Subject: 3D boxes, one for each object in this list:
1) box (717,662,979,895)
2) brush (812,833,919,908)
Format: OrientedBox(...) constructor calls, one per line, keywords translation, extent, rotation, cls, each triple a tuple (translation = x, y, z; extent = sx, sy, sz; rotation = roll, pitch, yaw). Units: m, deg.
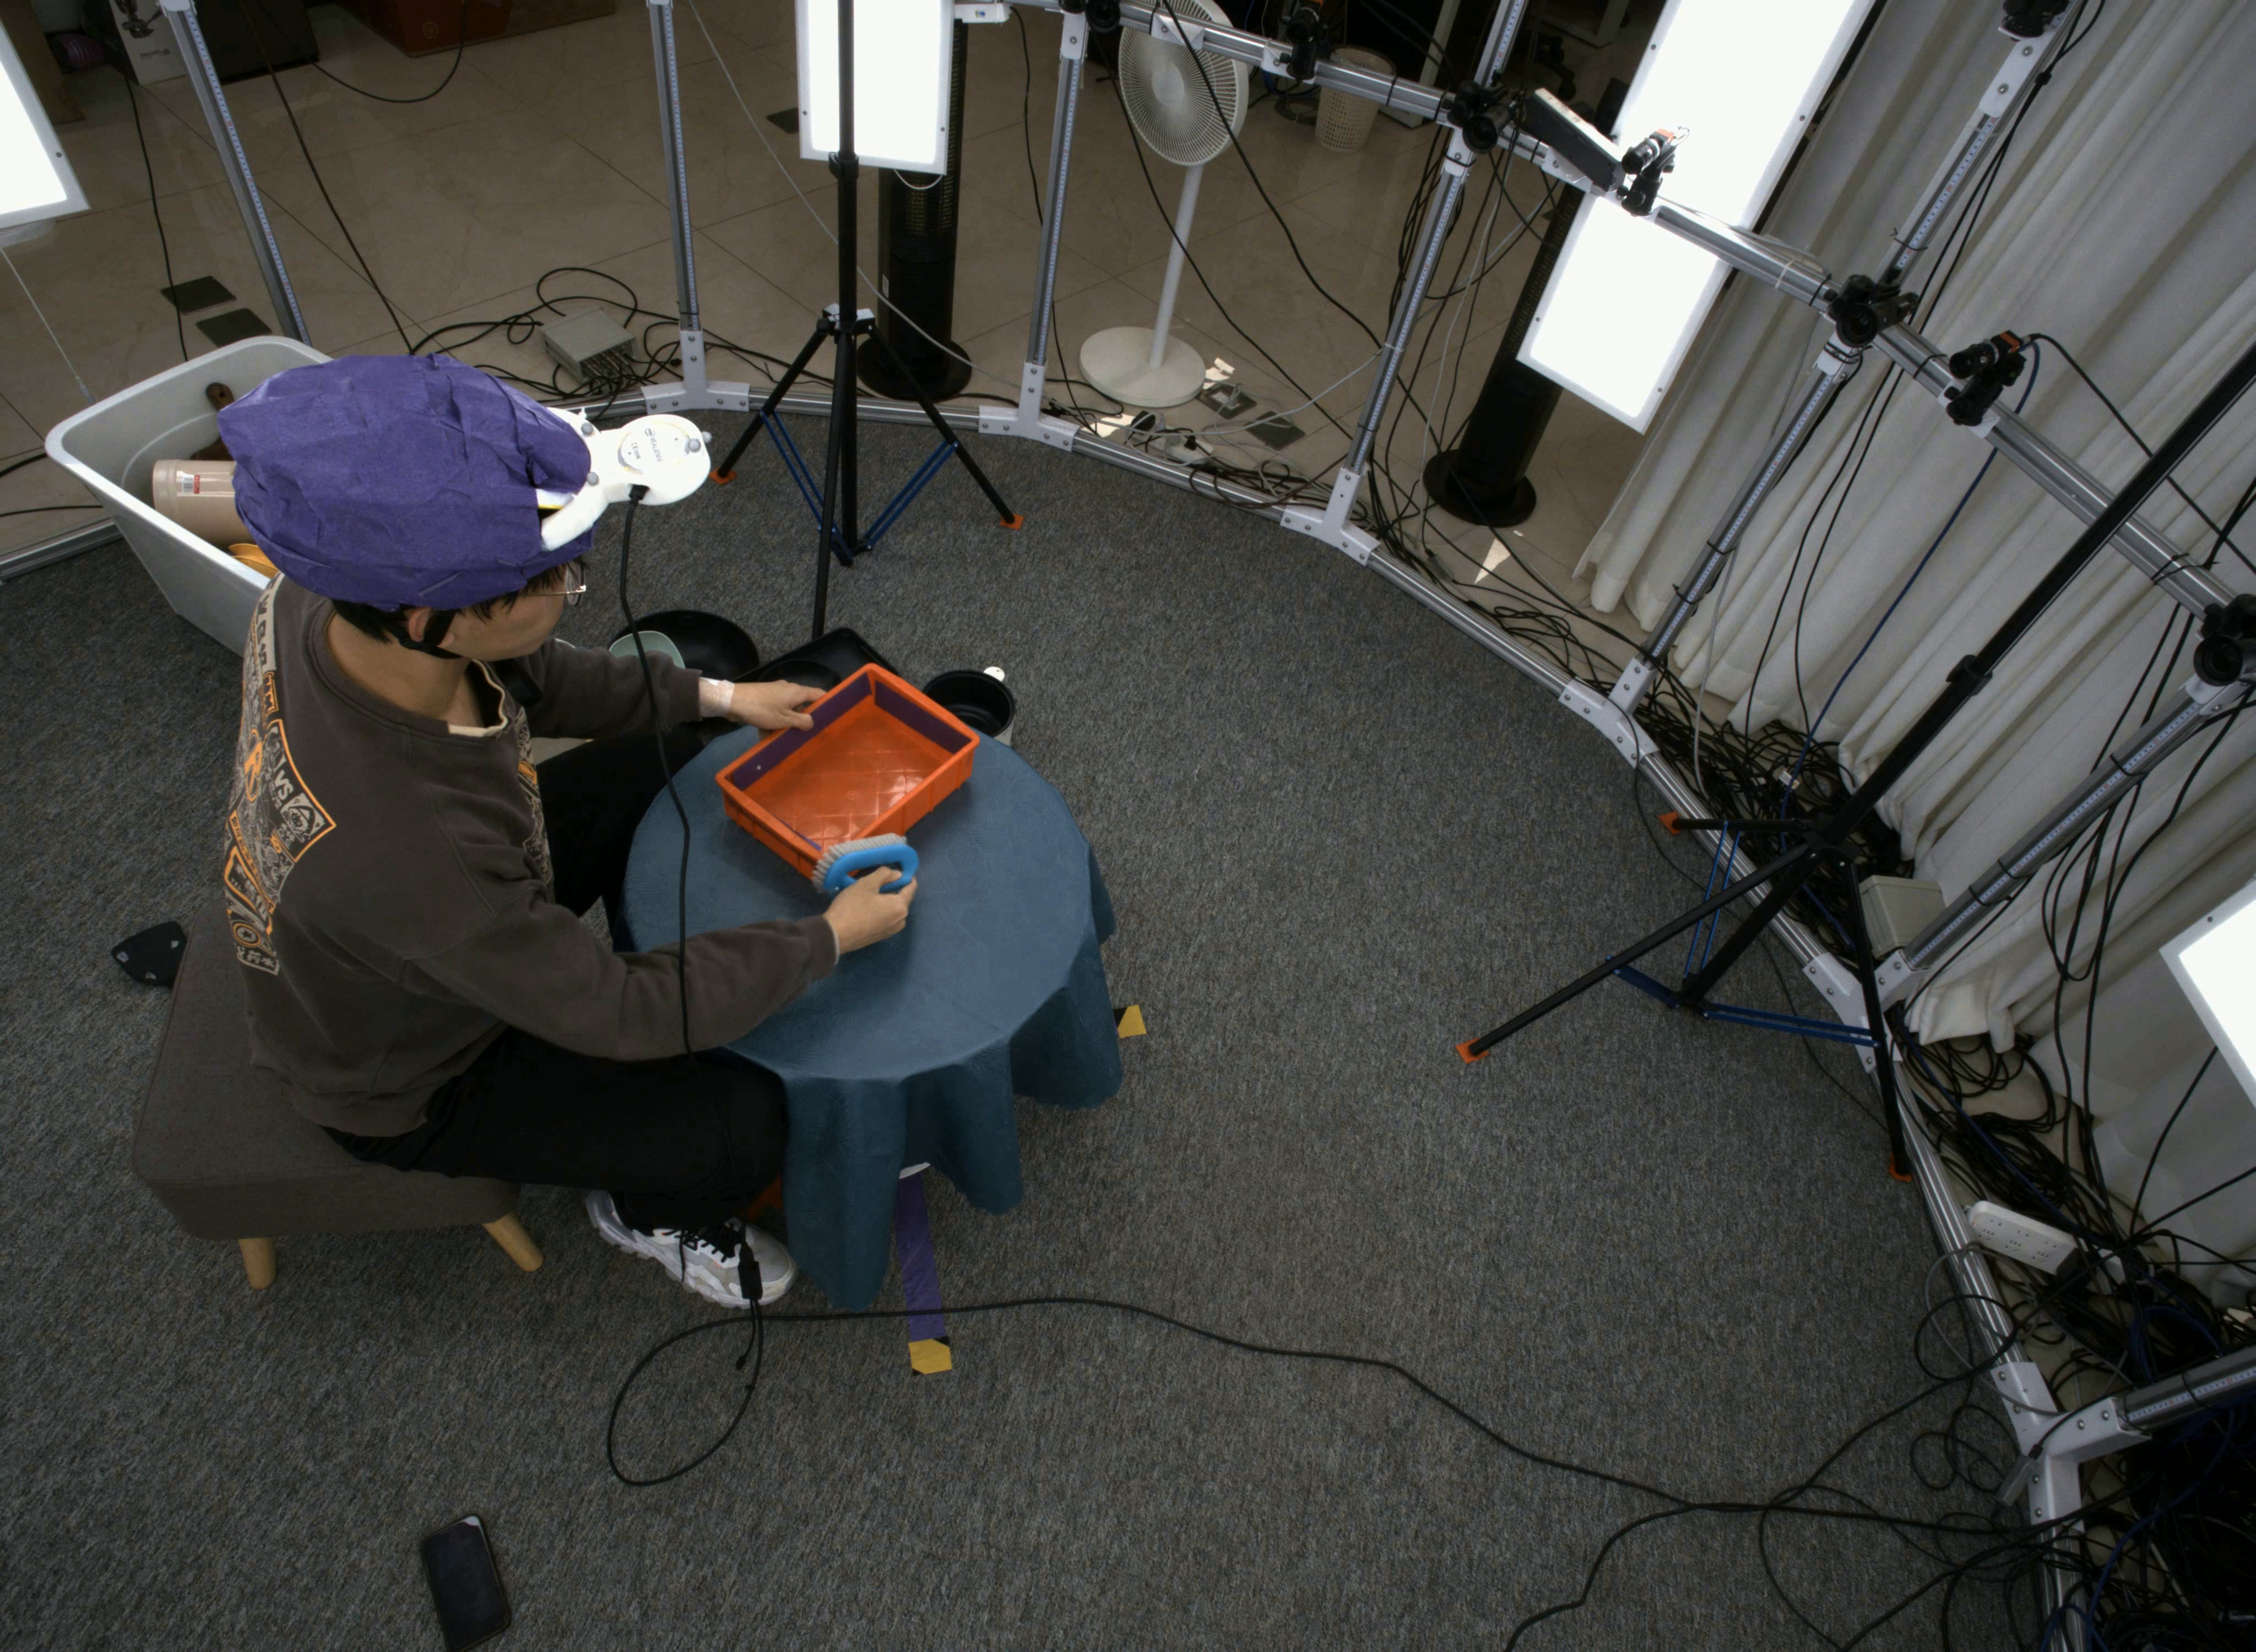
OrientedBox(translation=(-0.371, -0.061, 1.741), extent=(0.202, 0.098, 0.303), rotation=(36, 54, 14), cls="box")
OrientedBox(translation=(-0.319, 0.061, 1.618), extent=(0.144, 0.086, 0.061), rotation=(-9, 35, -45), cls="brush")
